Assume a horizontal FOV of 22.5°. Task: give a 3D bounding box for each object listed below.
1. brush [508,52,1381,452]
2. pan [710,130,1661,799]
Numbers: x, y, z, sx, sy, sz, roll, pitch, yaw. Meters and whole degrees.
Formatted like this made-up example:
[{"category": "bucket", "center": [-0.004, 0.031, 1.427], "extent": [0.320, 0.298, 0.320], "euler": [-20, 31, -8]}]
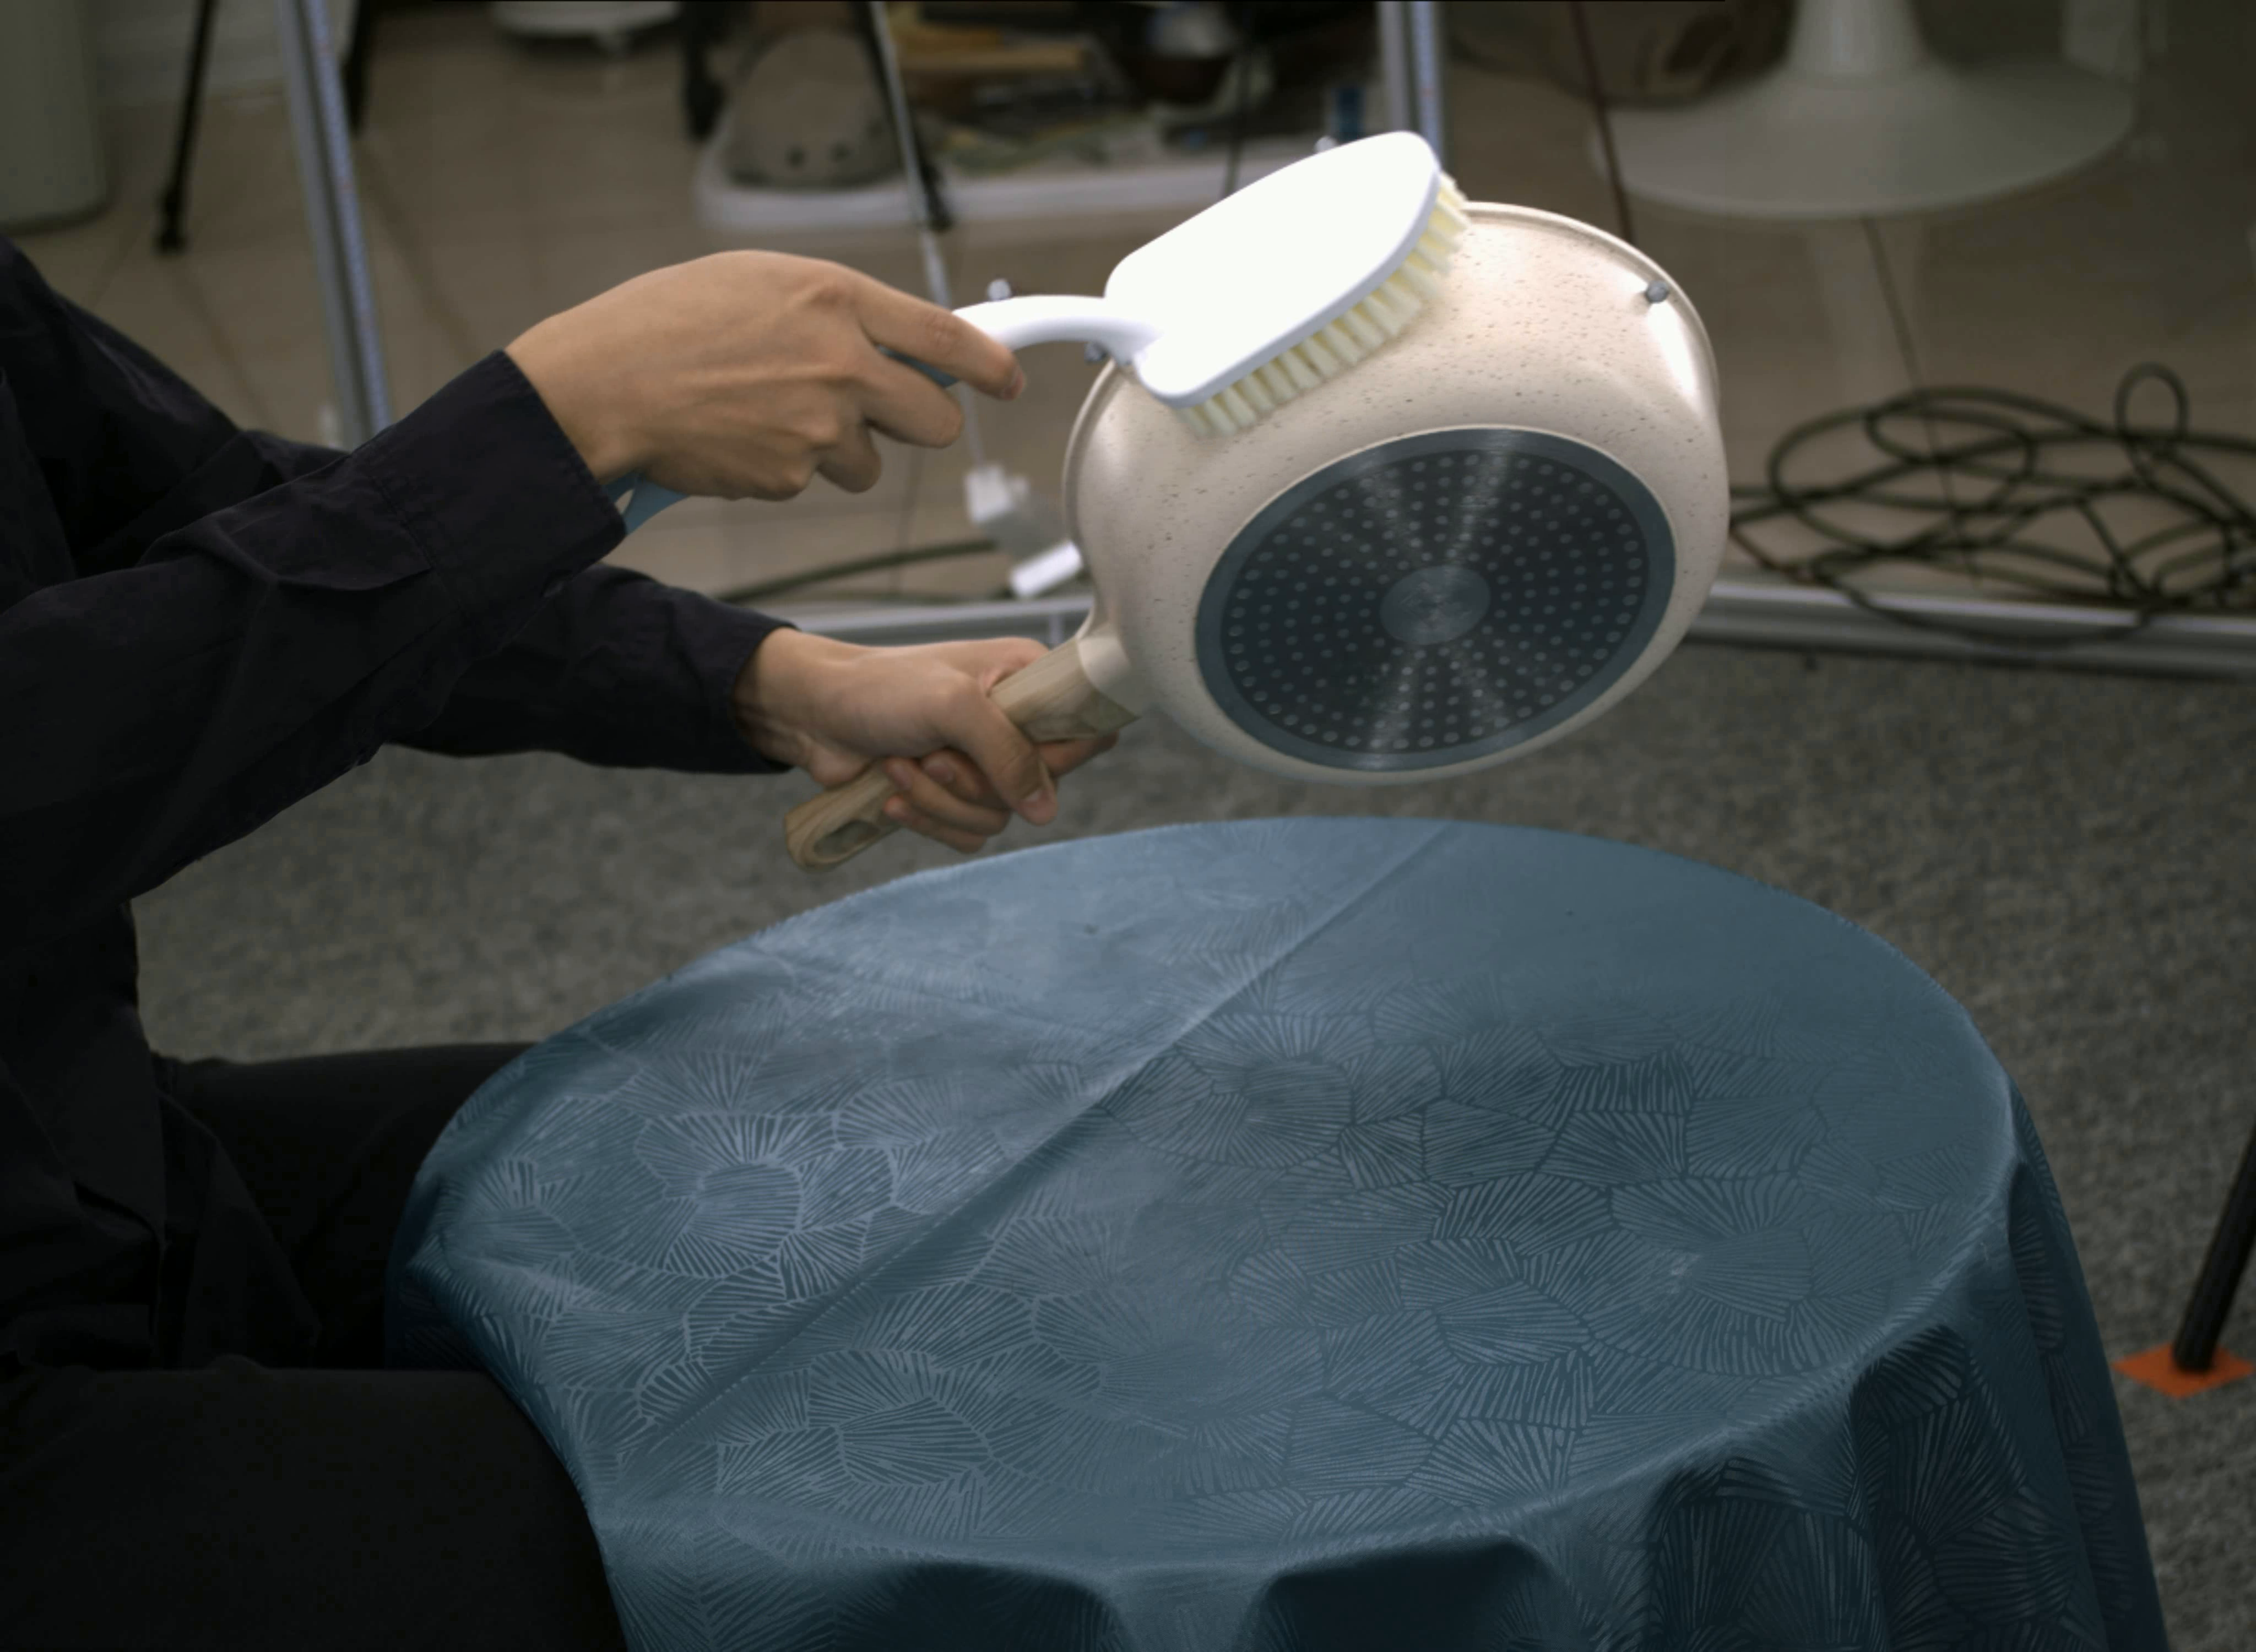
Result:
[{"category": "brush", "center": [-0.063, -0.188, 2.004], "extent": [0.325, 0.085, 0.082], "euler": [-23, 19, 0]}, {"category": "pan", "center": [0.011, -0.098, 2.159], "extent": [0.438, 0.266, 0.100], "euler": [-34, 48, 25]}]
